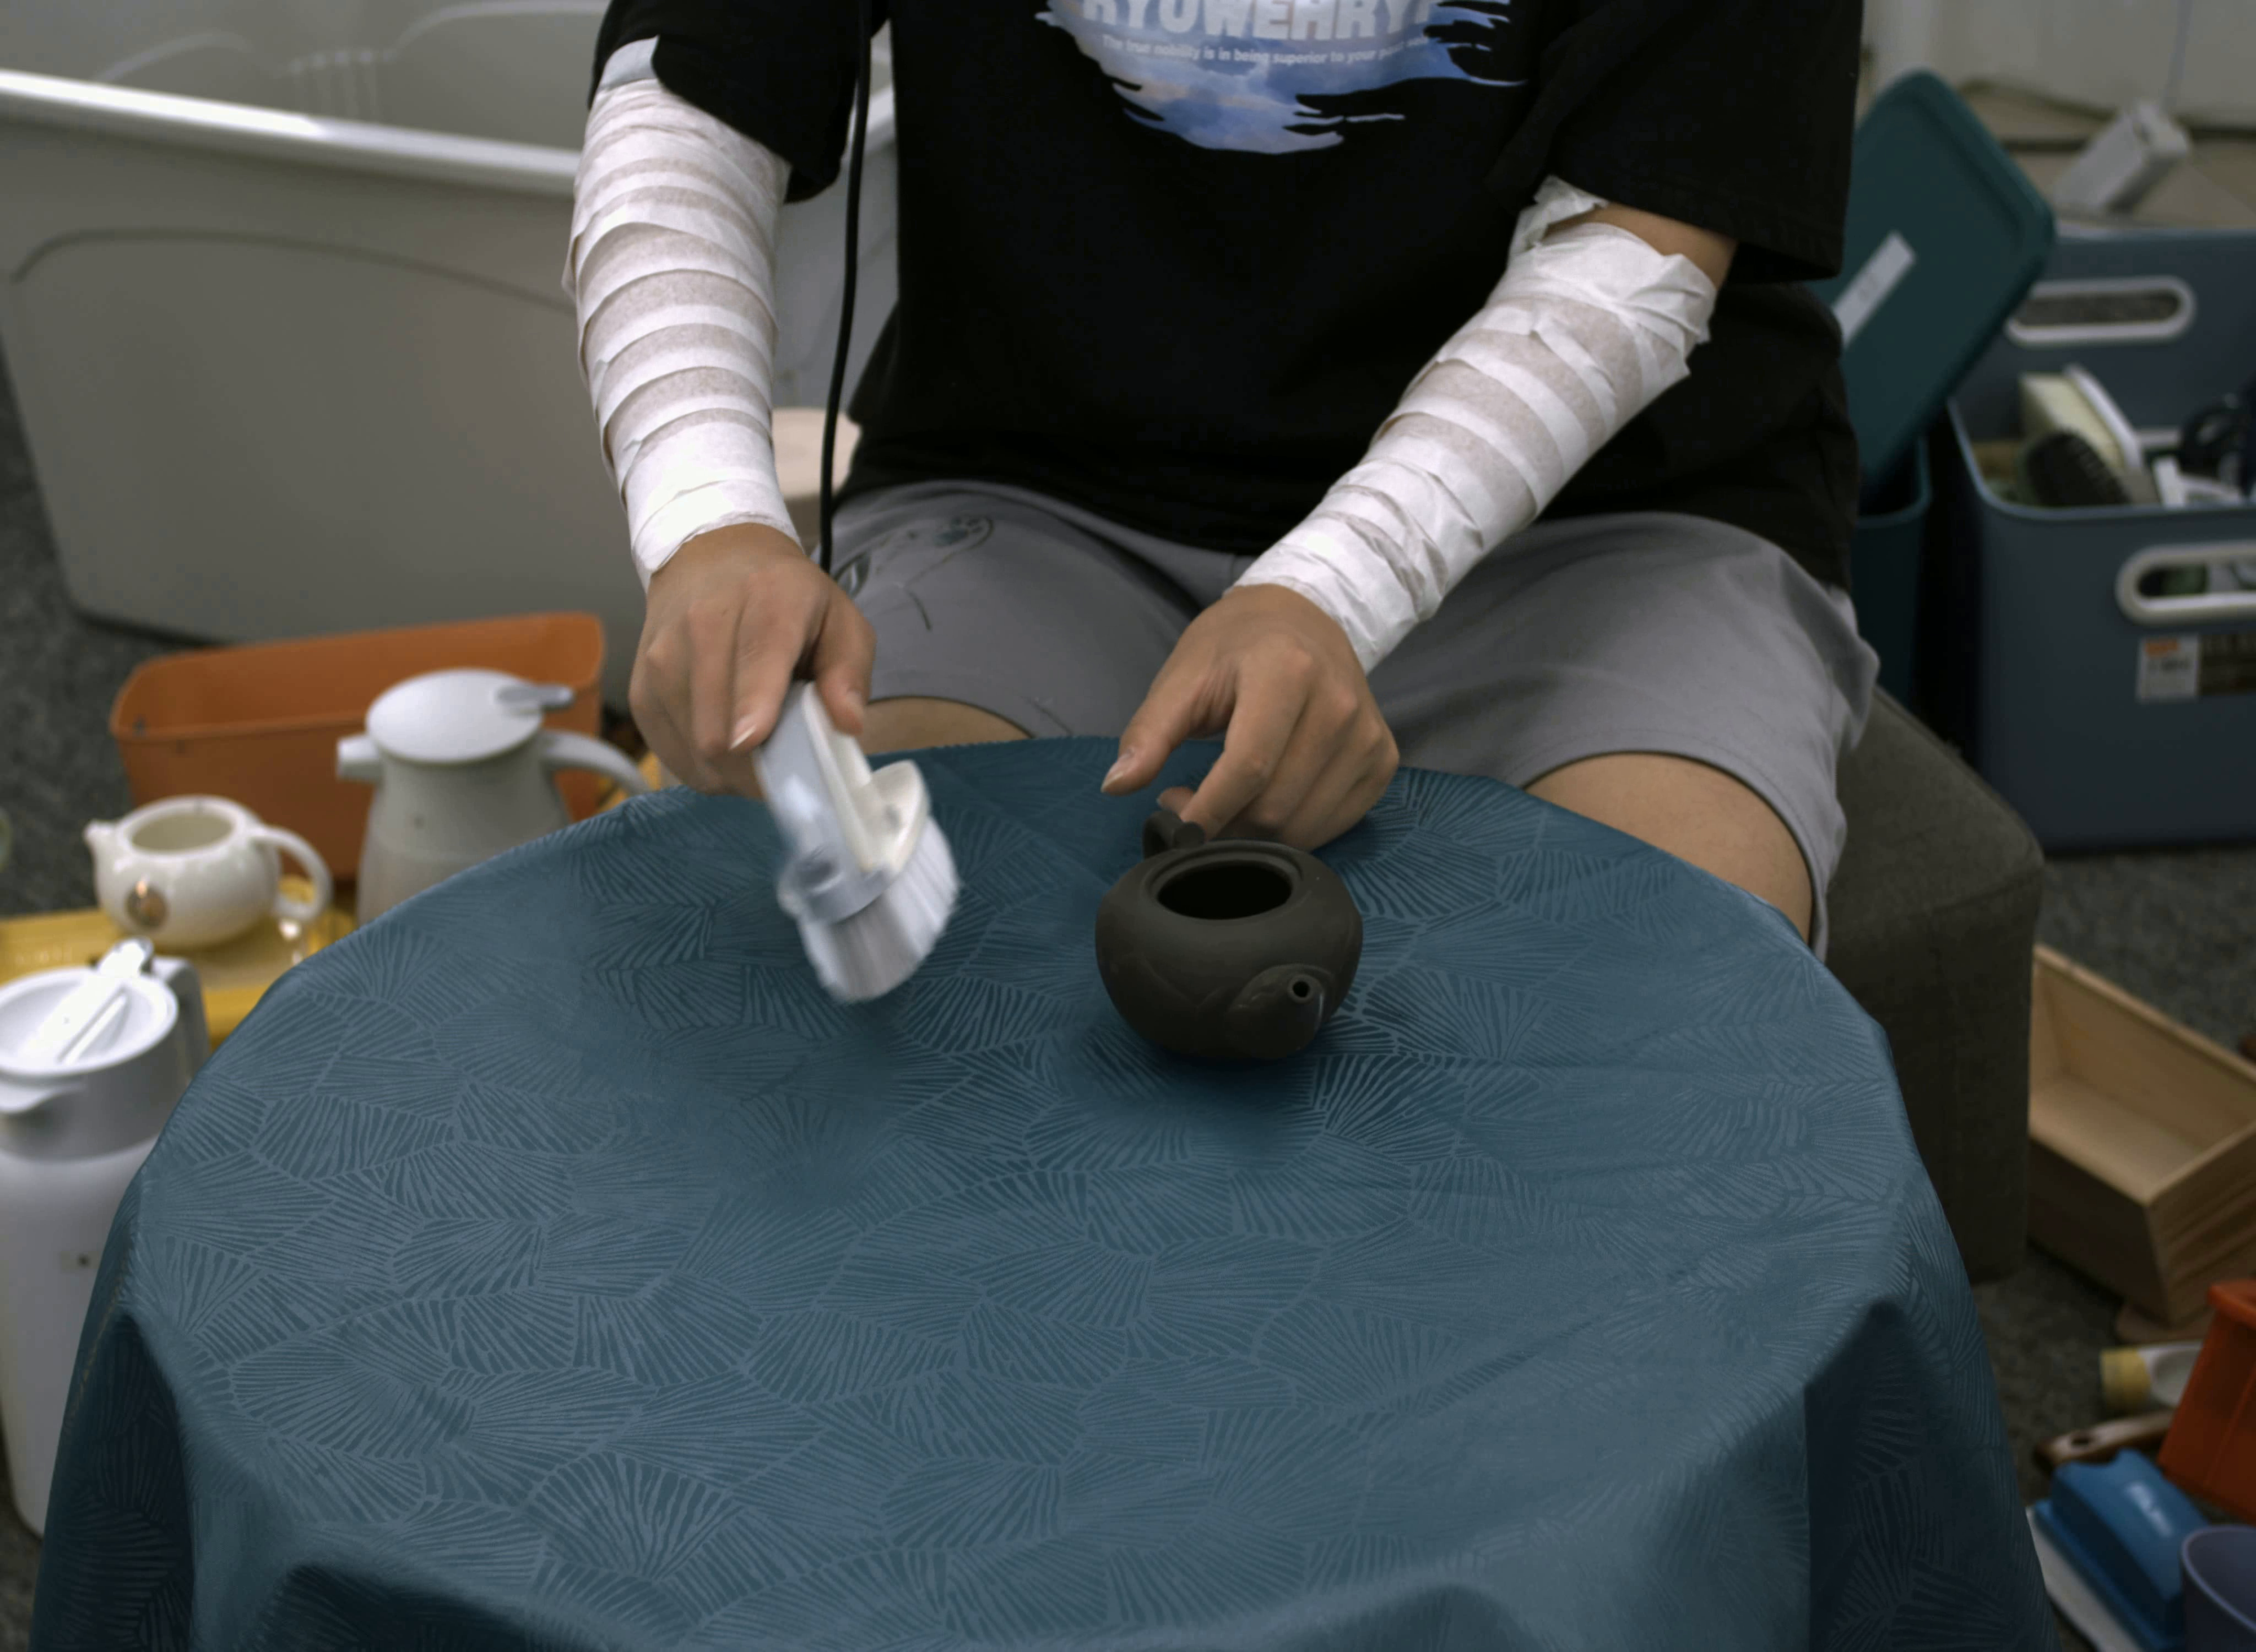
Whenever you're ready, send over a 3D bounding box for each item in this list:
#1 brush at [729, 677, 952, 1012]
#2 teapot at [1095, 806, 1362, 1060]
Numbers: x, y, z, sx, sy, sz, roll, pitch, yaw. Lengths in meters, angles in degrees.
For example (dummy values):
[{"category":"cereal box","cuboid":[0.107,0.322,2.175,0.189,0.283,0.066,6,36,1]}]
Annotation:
[{"category":"brush","cuboid":[-0.105,0.001,1.935,0.061,0.094,0.177,-27,15,7]},{"category":"teapot","cuboid":[0.034,0.040,1.946,0.092,0.063,0.155,-11,29,-16]}]
